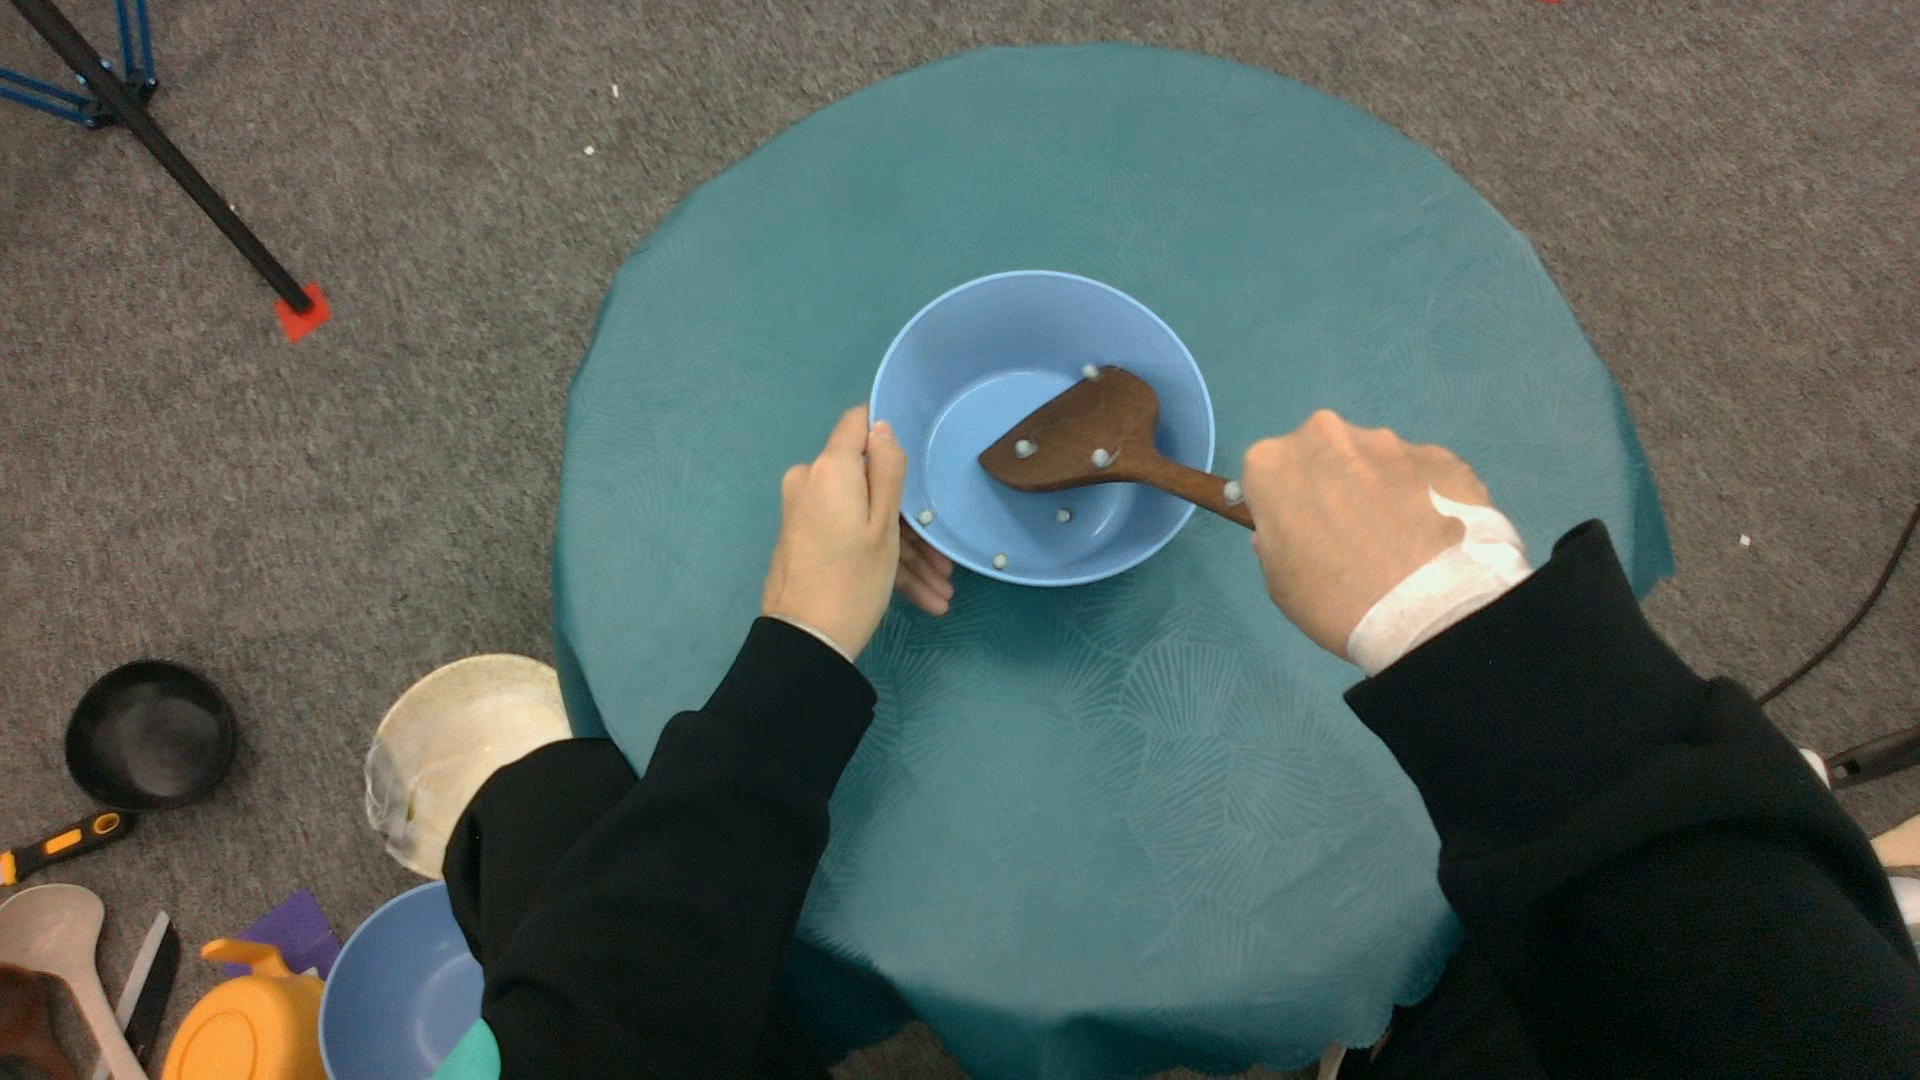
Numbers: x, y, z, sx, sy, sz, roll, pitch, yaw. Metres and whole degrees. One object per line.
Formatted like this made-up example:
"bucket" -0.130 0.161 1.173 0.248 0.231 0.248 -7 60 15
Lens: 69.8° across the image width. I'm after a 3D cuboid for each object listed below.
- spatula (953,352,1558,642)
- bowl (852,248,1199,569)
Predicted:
"spatula" 0.102 -0.026 0.586 0.096 0.386 0.016 -36 115 -10
"bowl" 0.033 -0.060 0.722 0.176 0.070 0.176 1 71 -1
